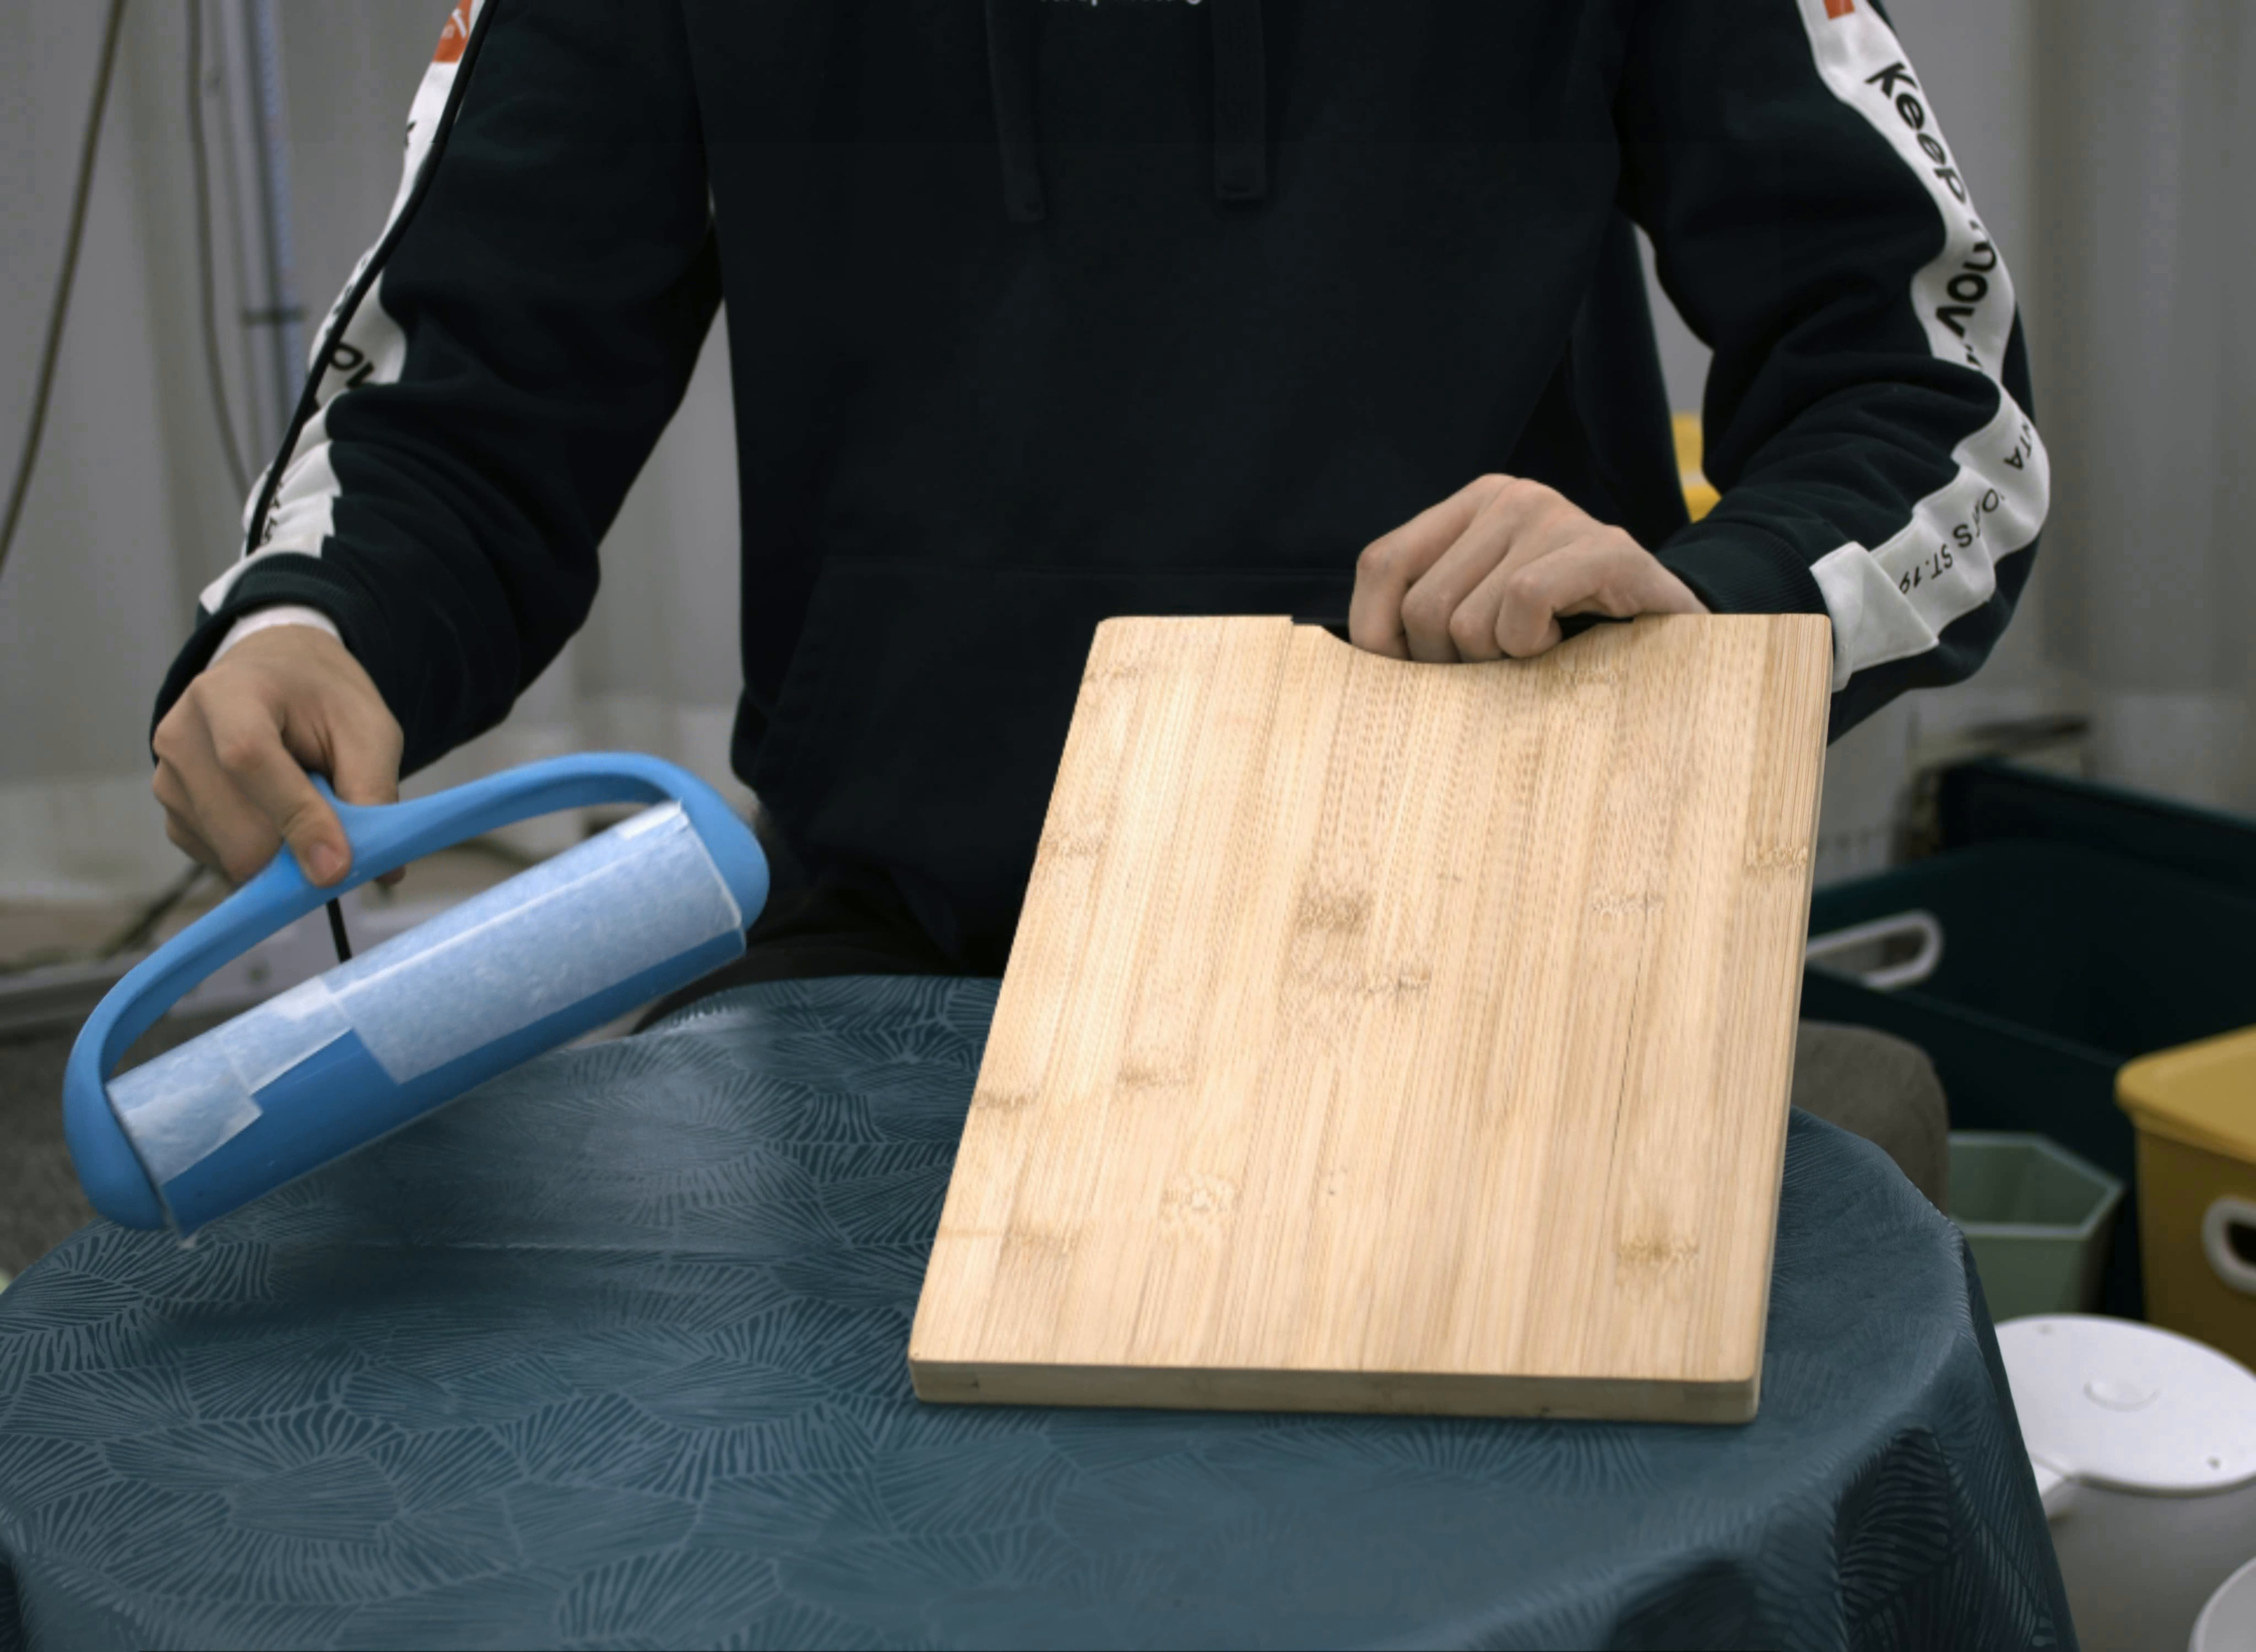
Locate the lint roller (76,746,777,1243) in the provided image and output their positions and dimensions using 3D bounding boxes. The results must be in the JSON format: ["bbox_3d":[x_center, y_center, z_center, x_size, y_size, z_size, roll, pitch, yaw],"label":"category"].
[{"bbox_3d":[-0.239,0.025,1.698,0.229,0.067,0.182,-31,45,-14],"label":"lint roller"}]

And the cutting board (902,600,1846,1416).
[{"bbox_3d":[0.083,0.046,1.648,0.250,0.023,0.353,0,40,11],"label":"cutting board"}]
